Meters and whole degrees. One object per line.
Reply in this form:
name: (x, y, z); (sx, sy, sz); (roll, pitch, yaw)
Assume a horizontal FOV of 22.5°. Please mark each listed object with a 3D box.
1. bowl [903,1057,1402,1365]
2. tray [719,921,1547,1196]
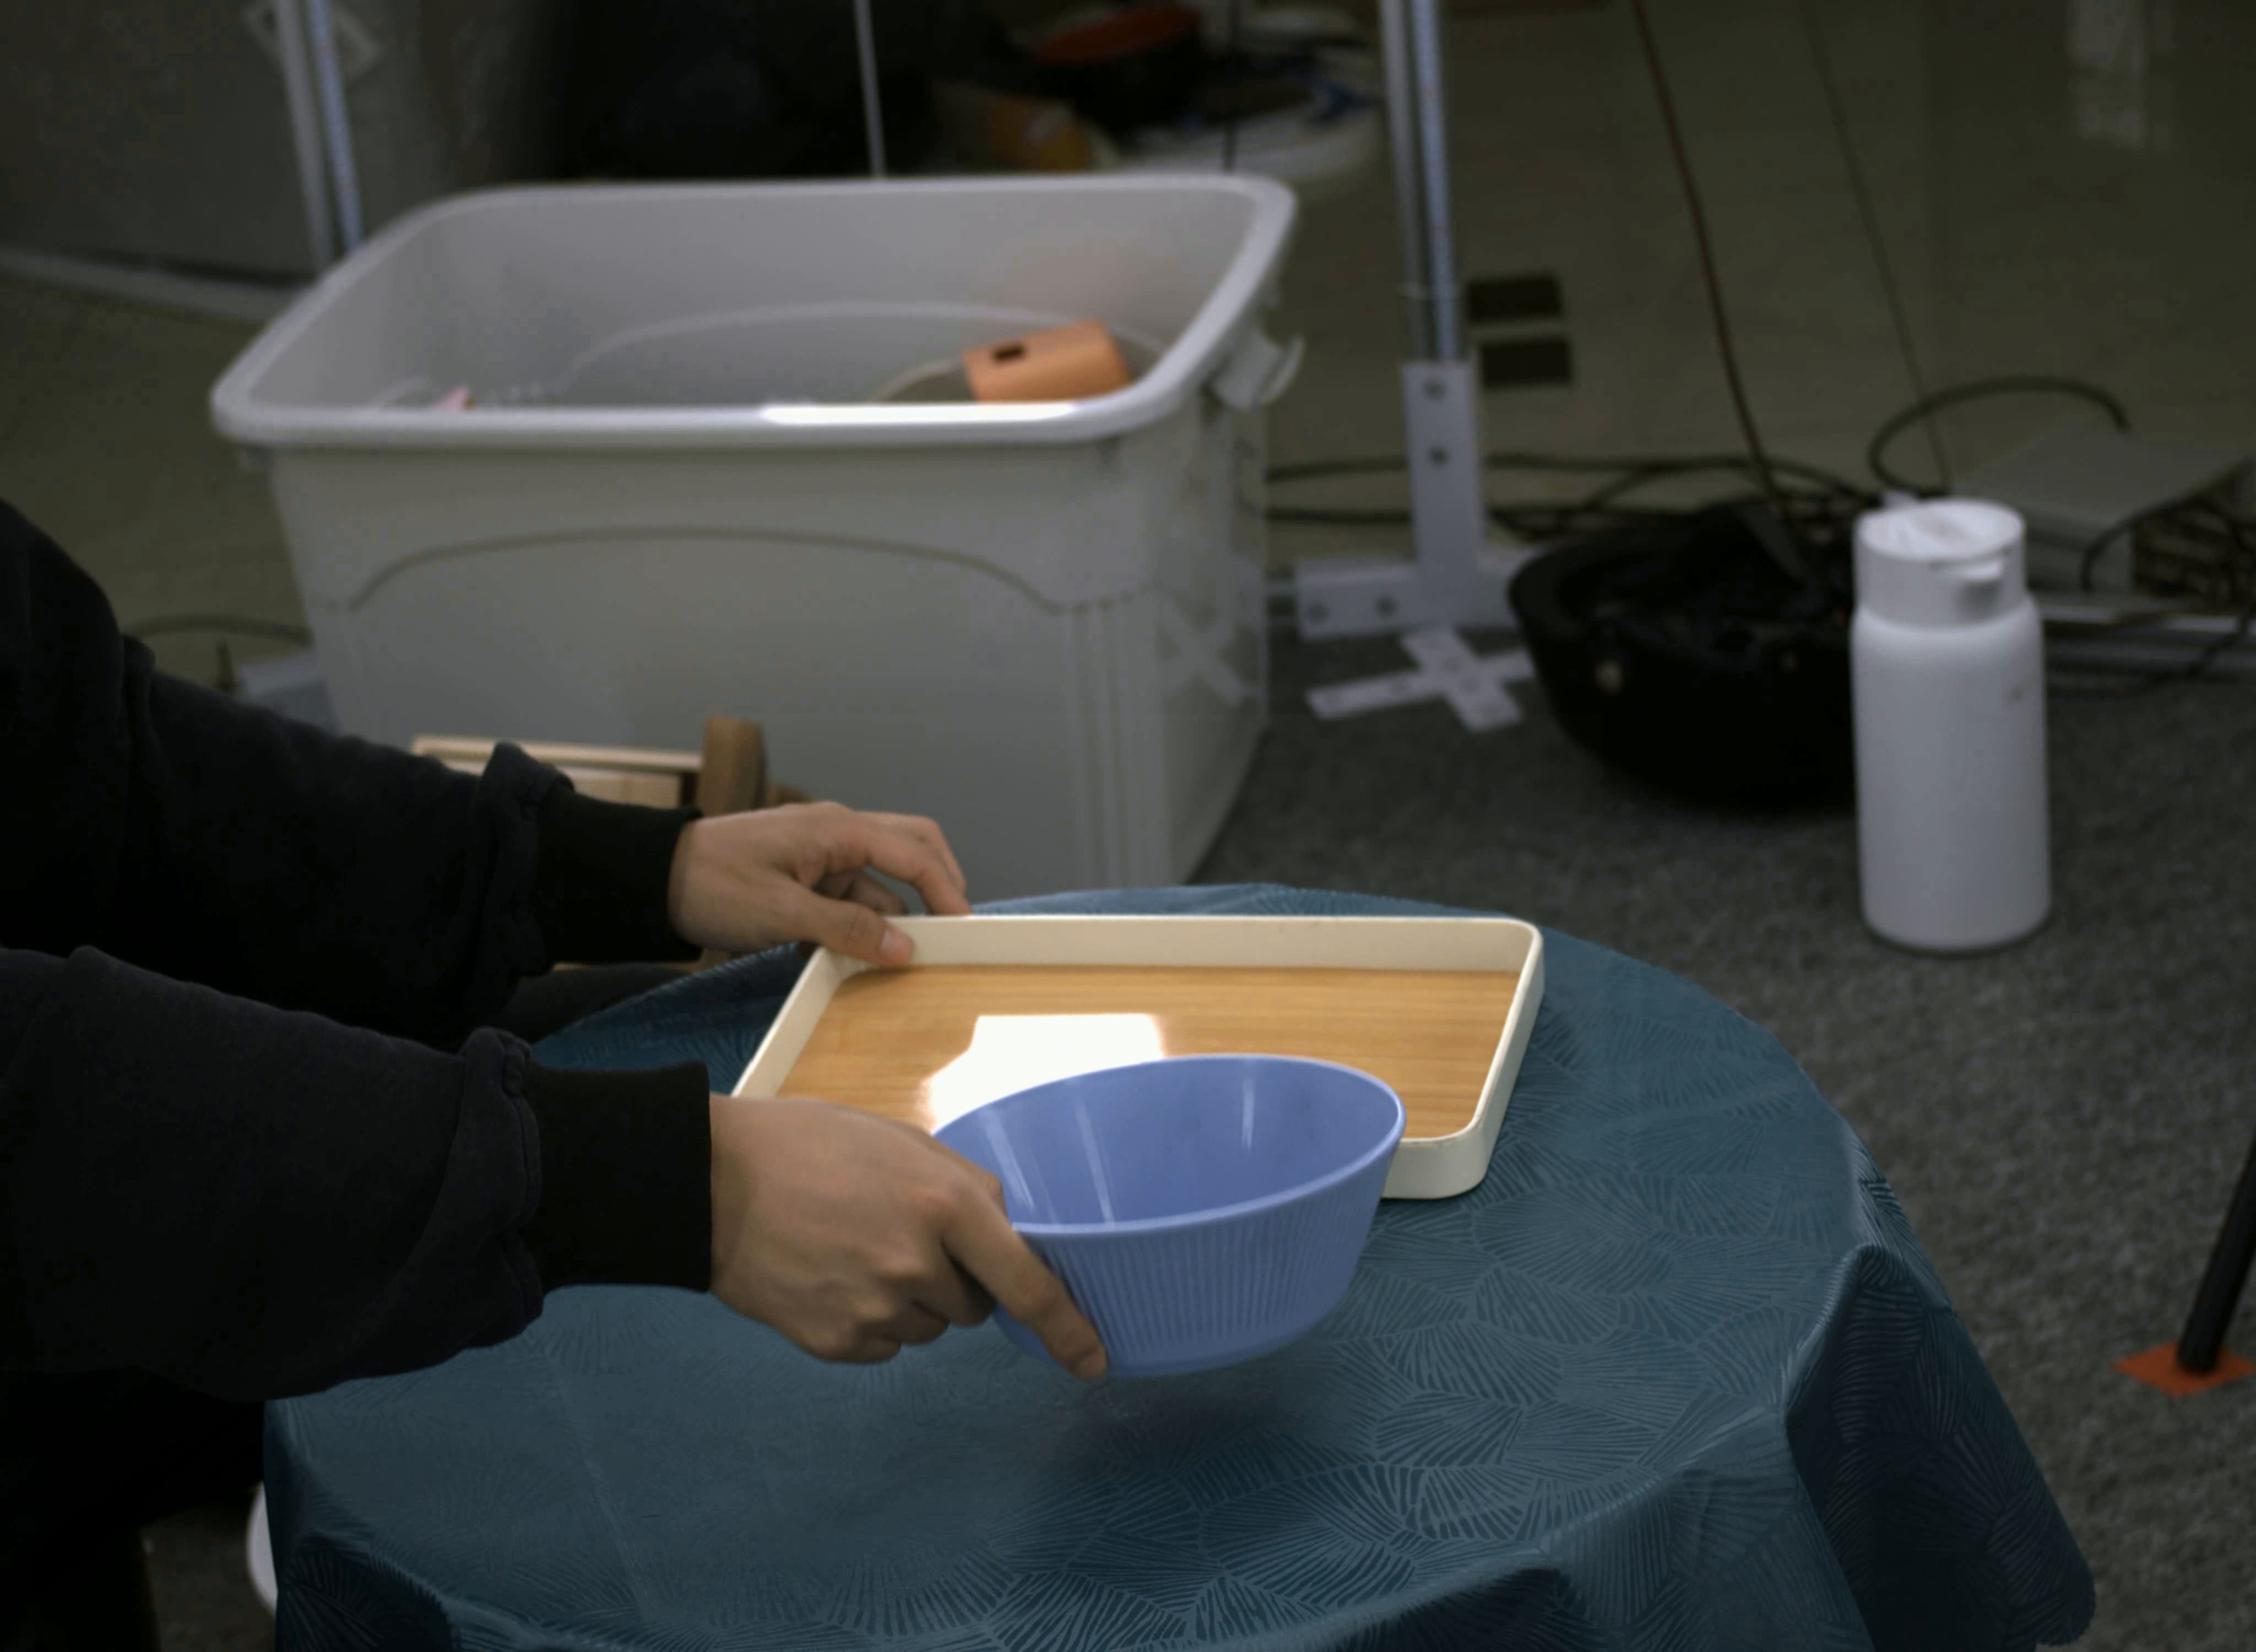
bowl: (0.012, 0.138, 1.981); (0.176, 0.071, 0.174); (-7, 15, 2)
tray: (0.005, 0.090, 2.226); (0.299, 0.028, 0.189); (0, 25, 14)
